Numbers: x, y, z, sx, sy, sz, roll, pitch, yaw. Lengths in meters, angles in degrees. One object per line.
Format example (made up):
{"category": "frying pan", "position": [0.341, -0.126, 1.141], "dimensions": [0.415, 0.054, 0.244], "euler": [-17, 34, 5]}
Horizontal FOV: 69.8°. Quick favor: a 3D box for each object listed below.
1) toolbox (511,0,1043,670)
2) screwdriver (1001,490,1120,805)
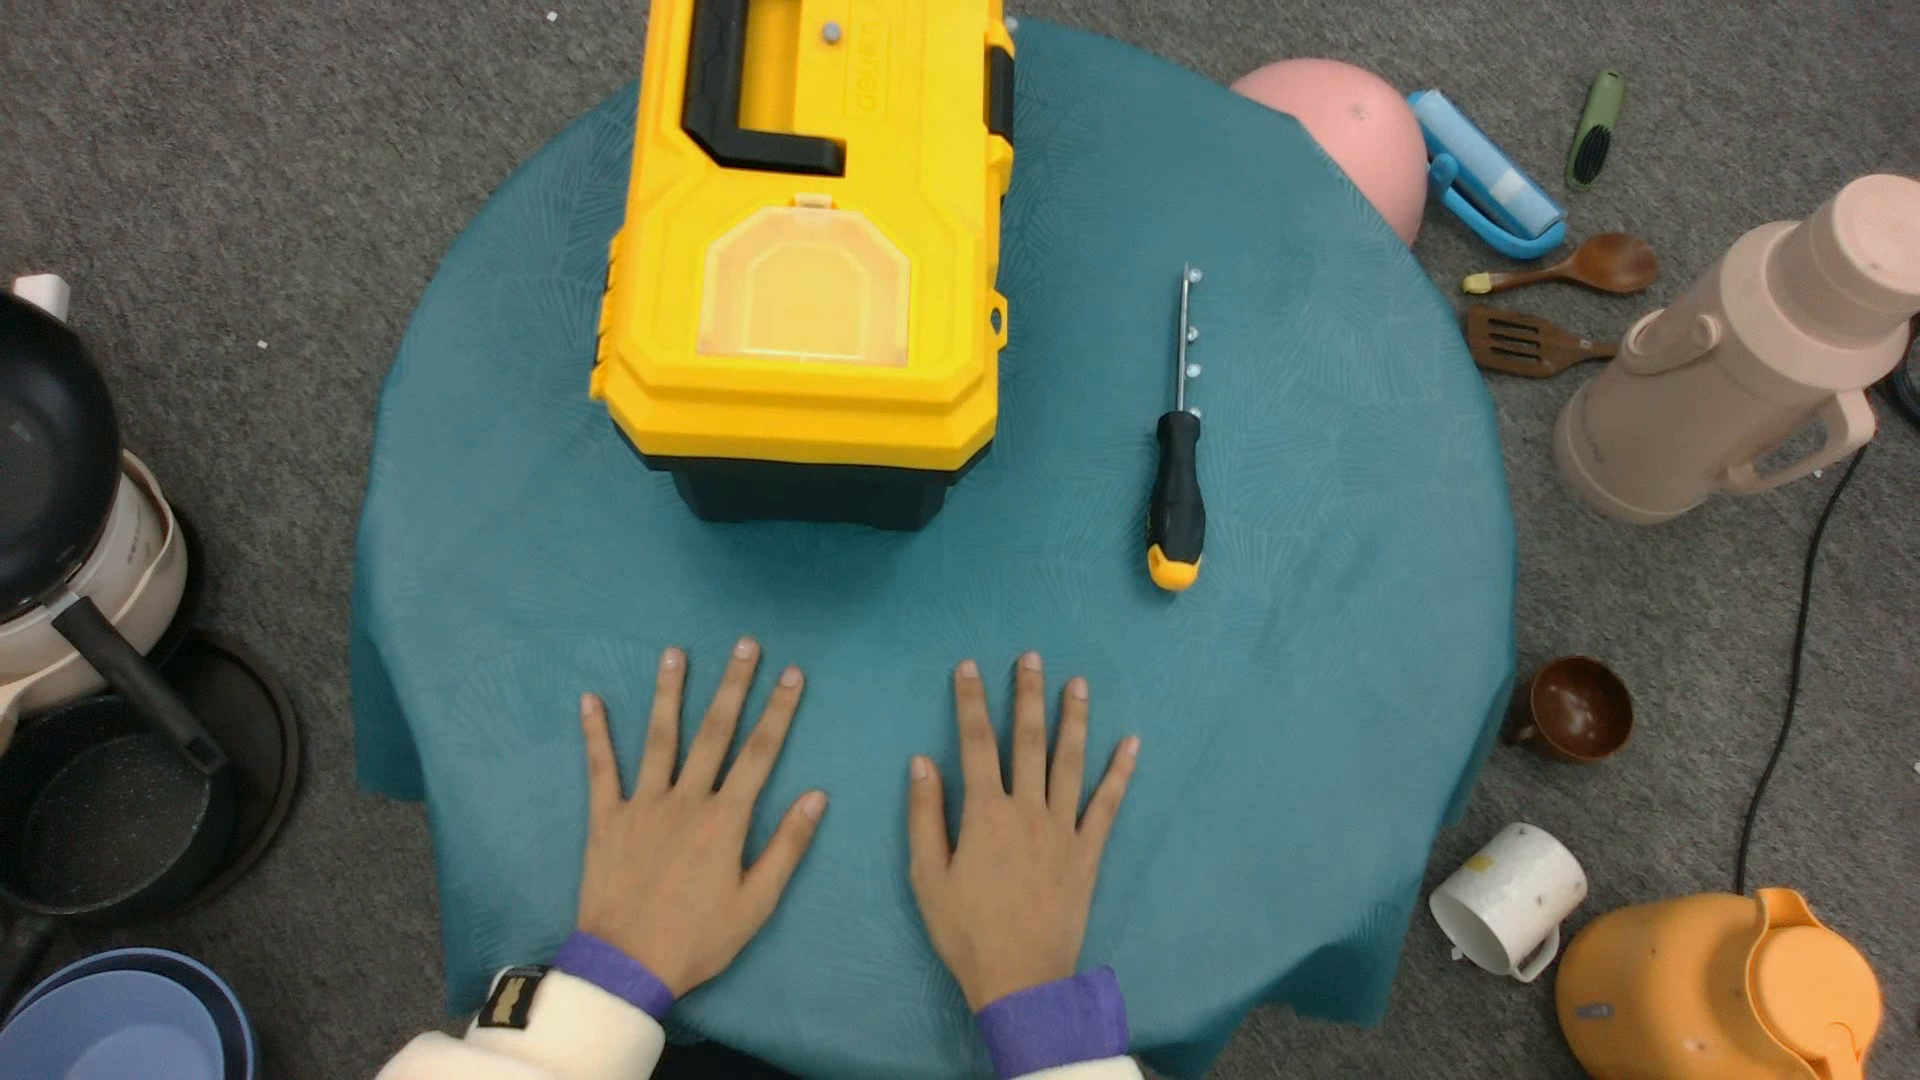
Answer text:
{"category": "toolbox", "position": [-0.082, -0.119, 0.694], "dimensions": [0.181, 0.172, 0.353], "euler": [20, 60, -7]}
{"category": "screwdriver", "position": [0.060, 0.053, 0.745], "dimensions": [0.031, 0.031, 0.199], "euler": [24, 55, -4]}
